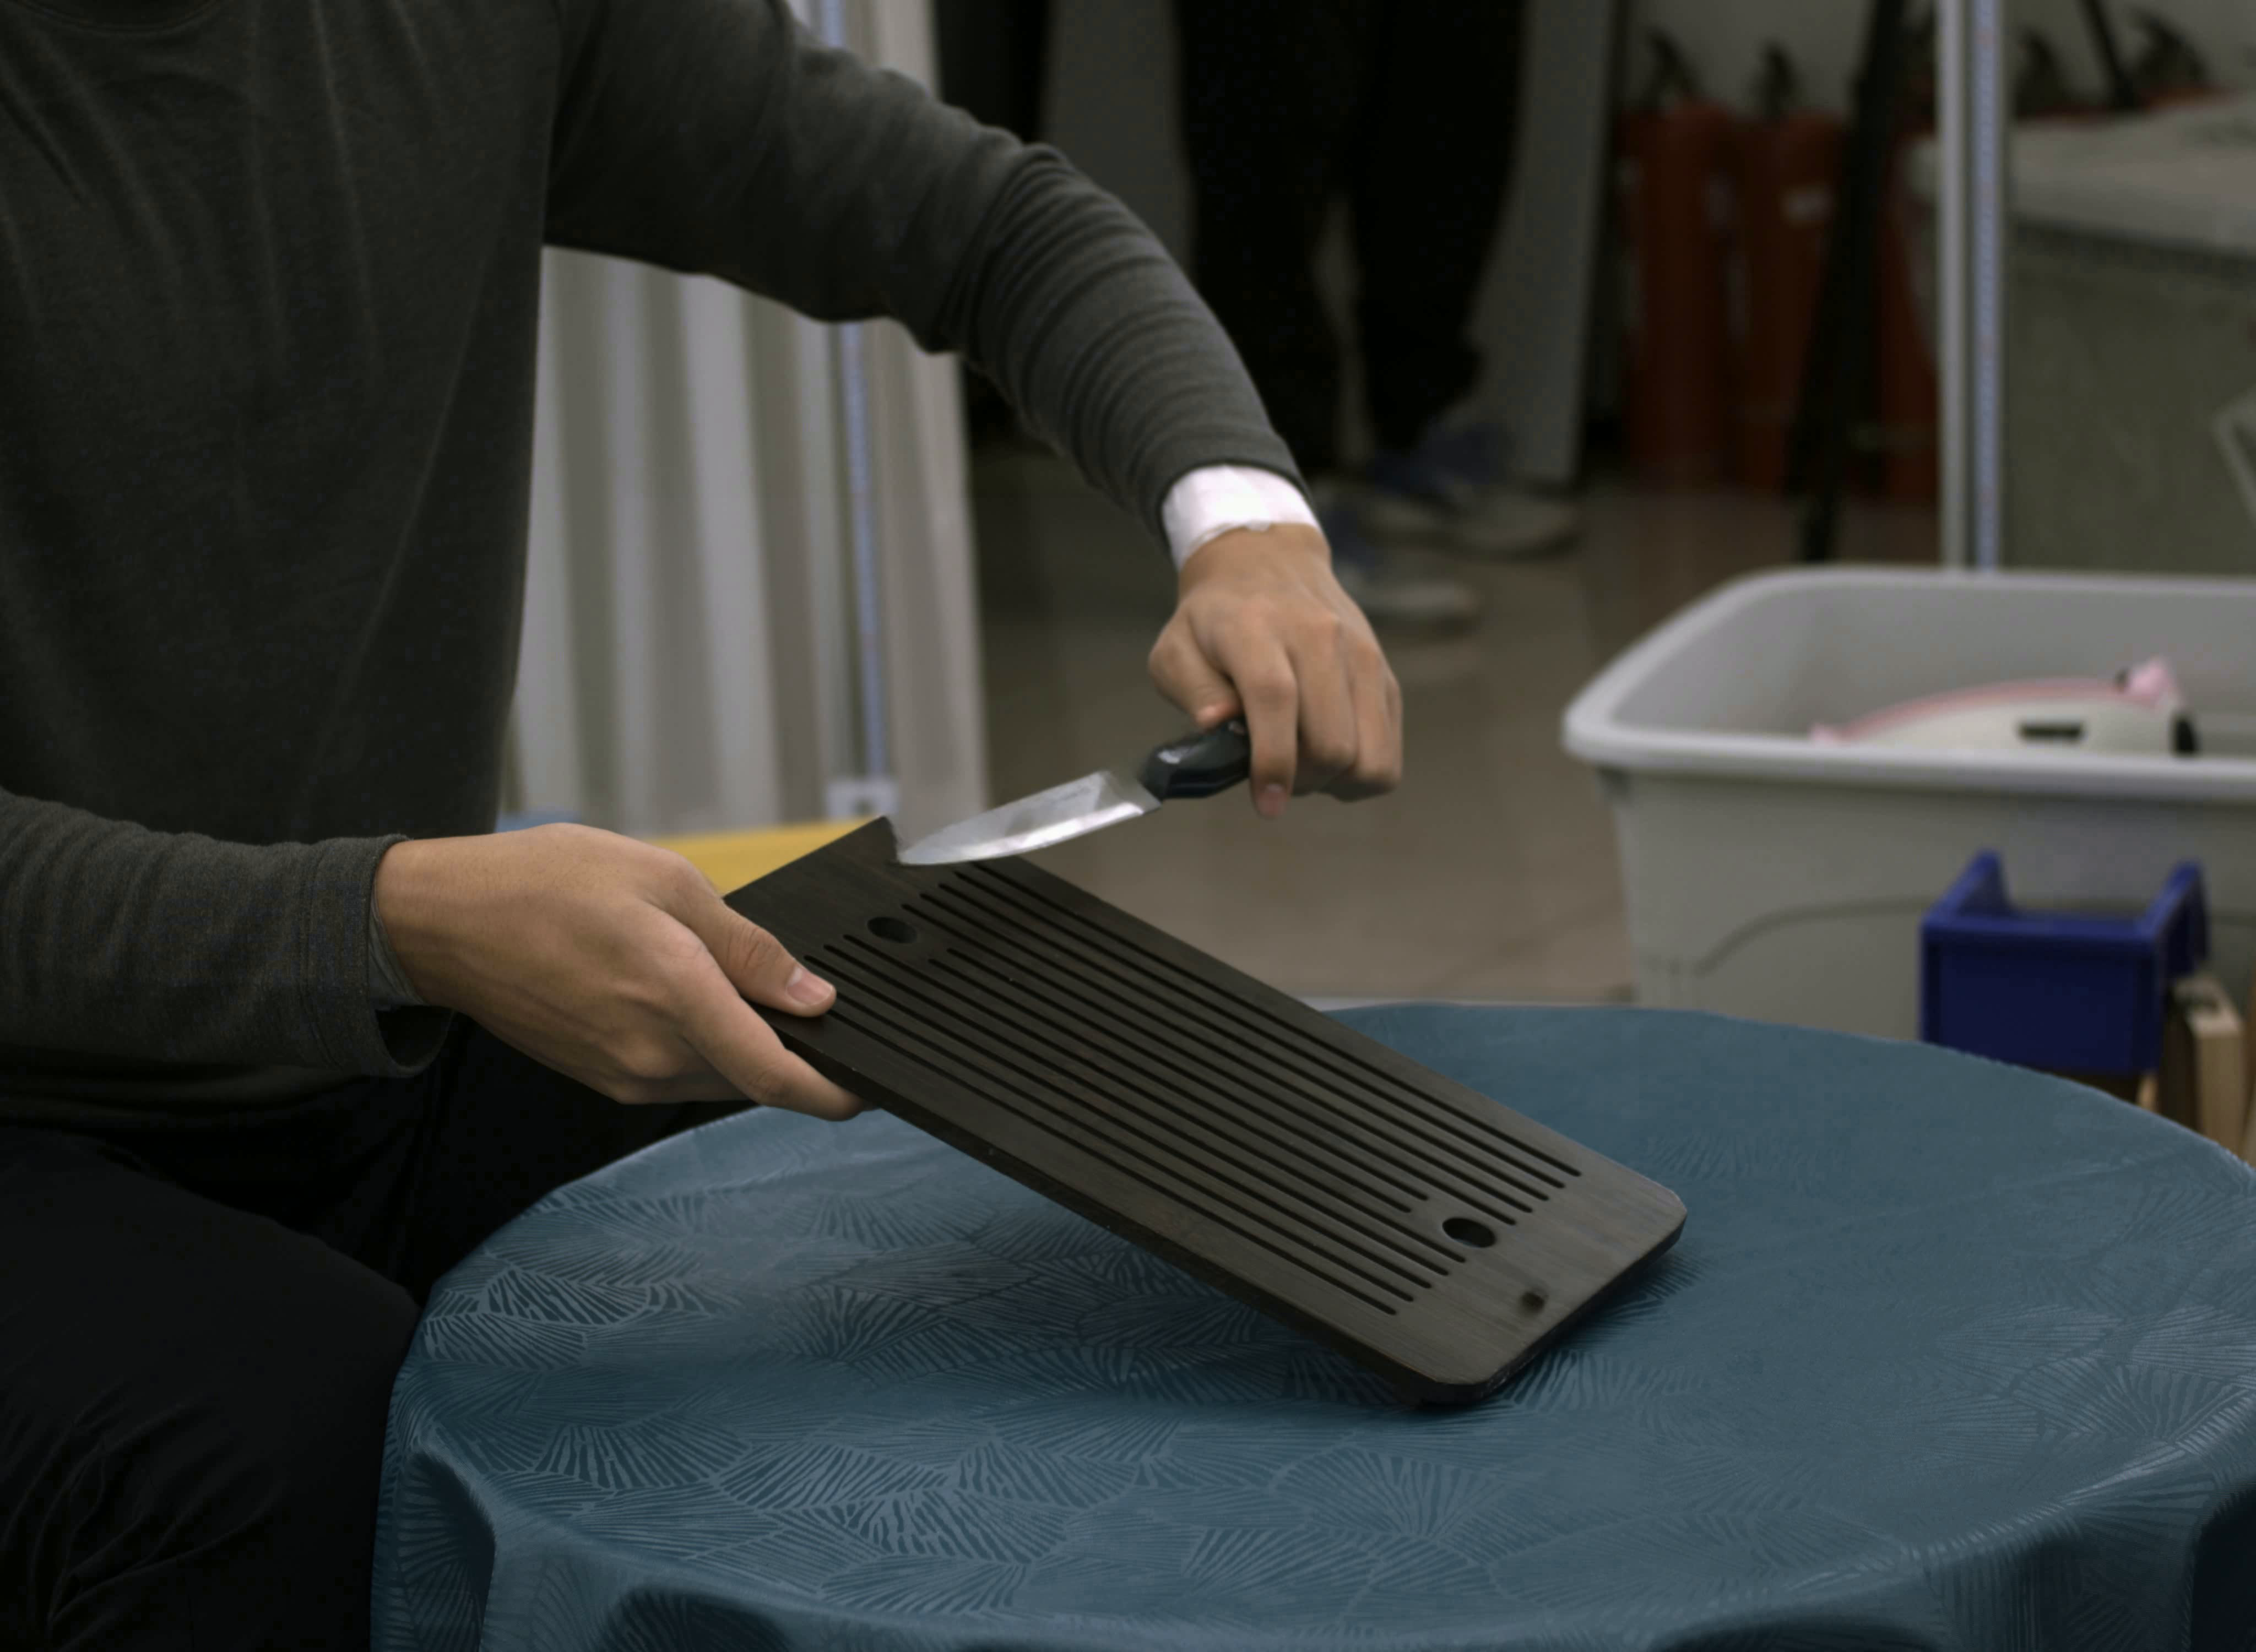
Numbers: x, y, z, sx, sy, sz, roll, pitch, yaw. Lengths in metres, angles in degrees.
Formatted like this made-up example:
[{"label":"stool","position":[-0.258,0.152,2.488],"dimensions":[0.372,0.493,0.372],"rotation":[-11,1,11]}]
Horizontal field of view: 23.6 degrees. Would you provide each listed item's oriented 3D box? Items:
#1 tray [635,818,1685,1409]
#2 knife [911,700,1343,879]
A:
[{"label":"tray","position":[0.010,0.085,1.664],"dimensions":[0.307,0.019,0.167],"rotation":[27,27,23]},{"label":"knife","position":[-0.001,-0.012,1.796],"dimensions":[0.024,0.016,0.234],"rotation":[39,33,23]}]
